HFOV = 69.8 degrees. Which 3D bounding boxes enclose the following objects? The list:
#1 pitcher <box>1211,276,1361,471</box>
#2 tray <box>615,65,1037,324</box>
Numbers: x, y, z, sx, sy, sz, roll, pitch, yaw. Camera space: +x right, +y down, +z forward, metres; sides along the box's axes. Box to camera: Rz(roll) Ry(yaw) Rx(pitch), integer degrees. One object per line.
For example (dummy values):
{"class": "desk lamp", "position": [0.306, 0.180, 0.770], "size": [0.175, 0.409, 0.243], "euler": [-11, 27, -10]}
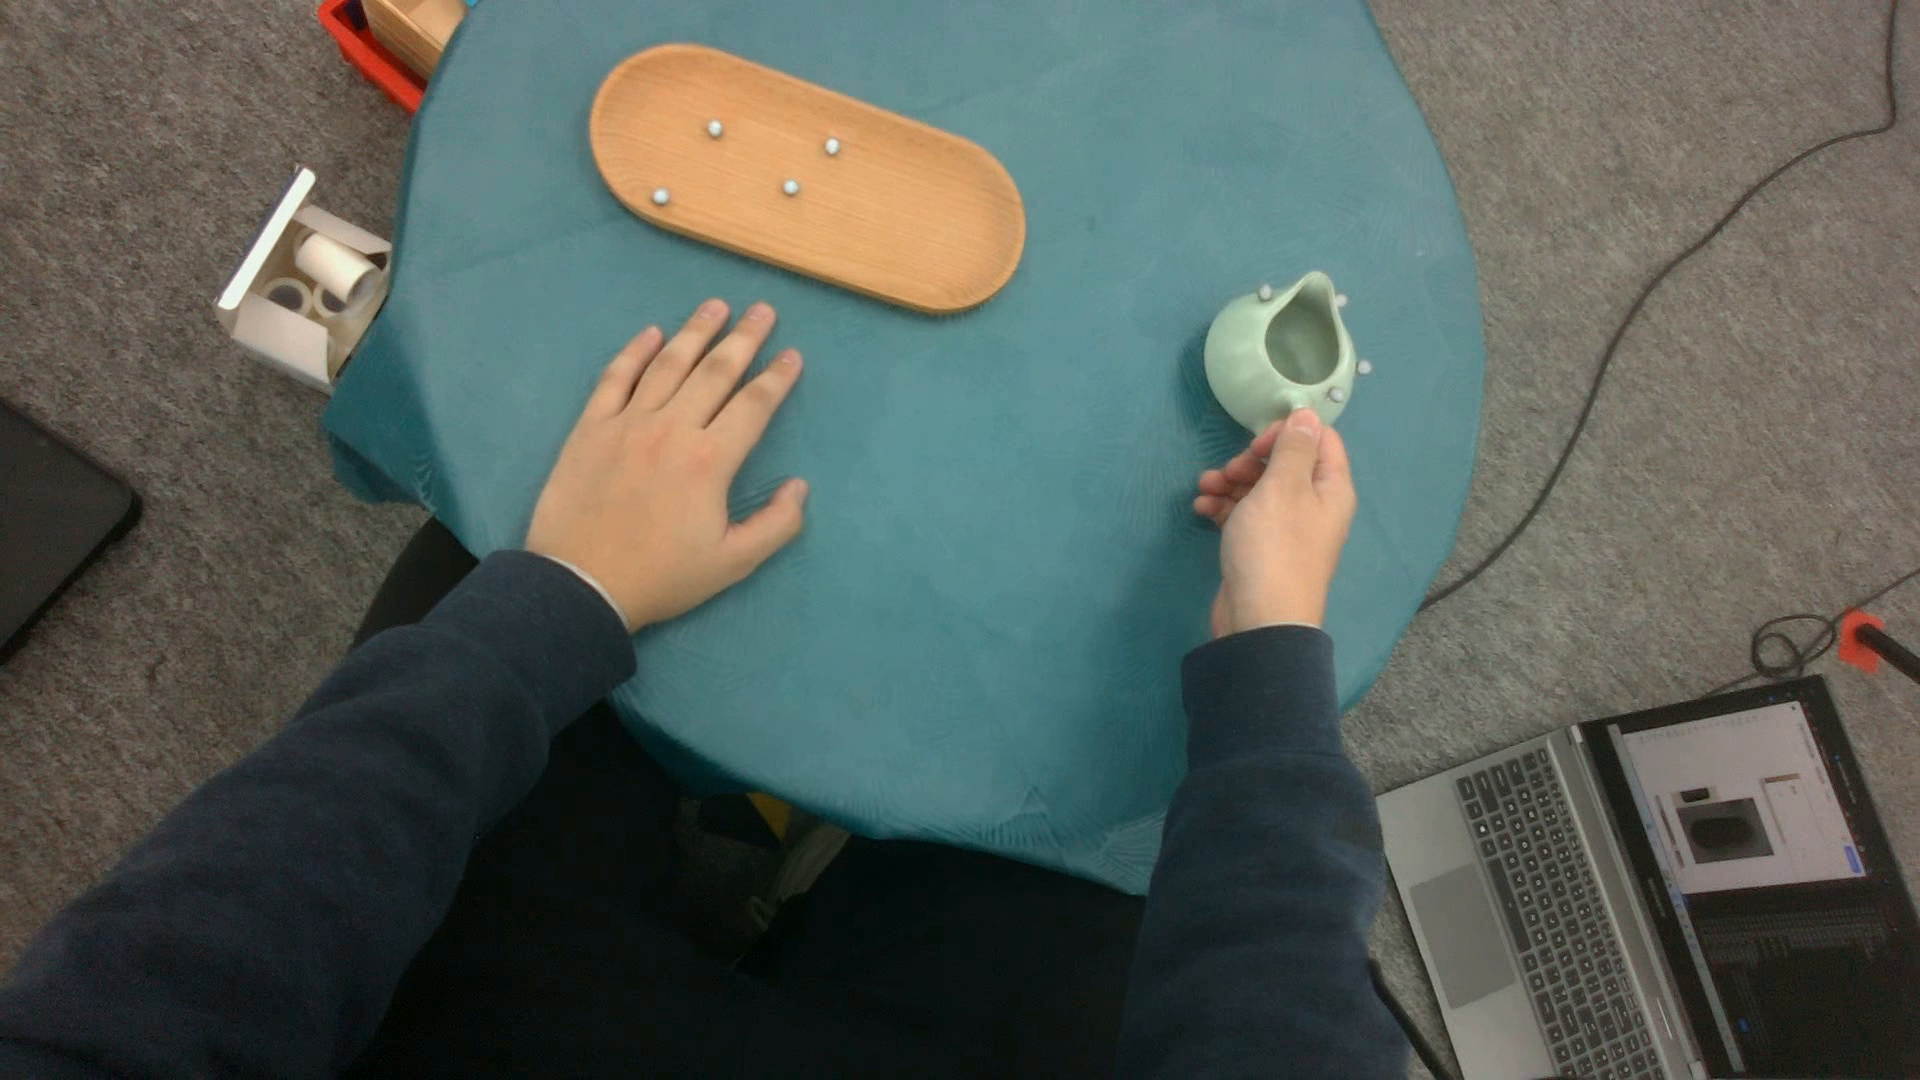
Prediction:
{"class": "pitcher", "position": [0.181, -0.087, 0.757], "size": [0.086, 0.060, 0.108], "euler": [13, 74, -8]}
{"class": "tray", "position": [-0.070, -0.184, 0.741], "size": [0.231, 0.020, 0.102], "euler": [16, 77, -12]}
